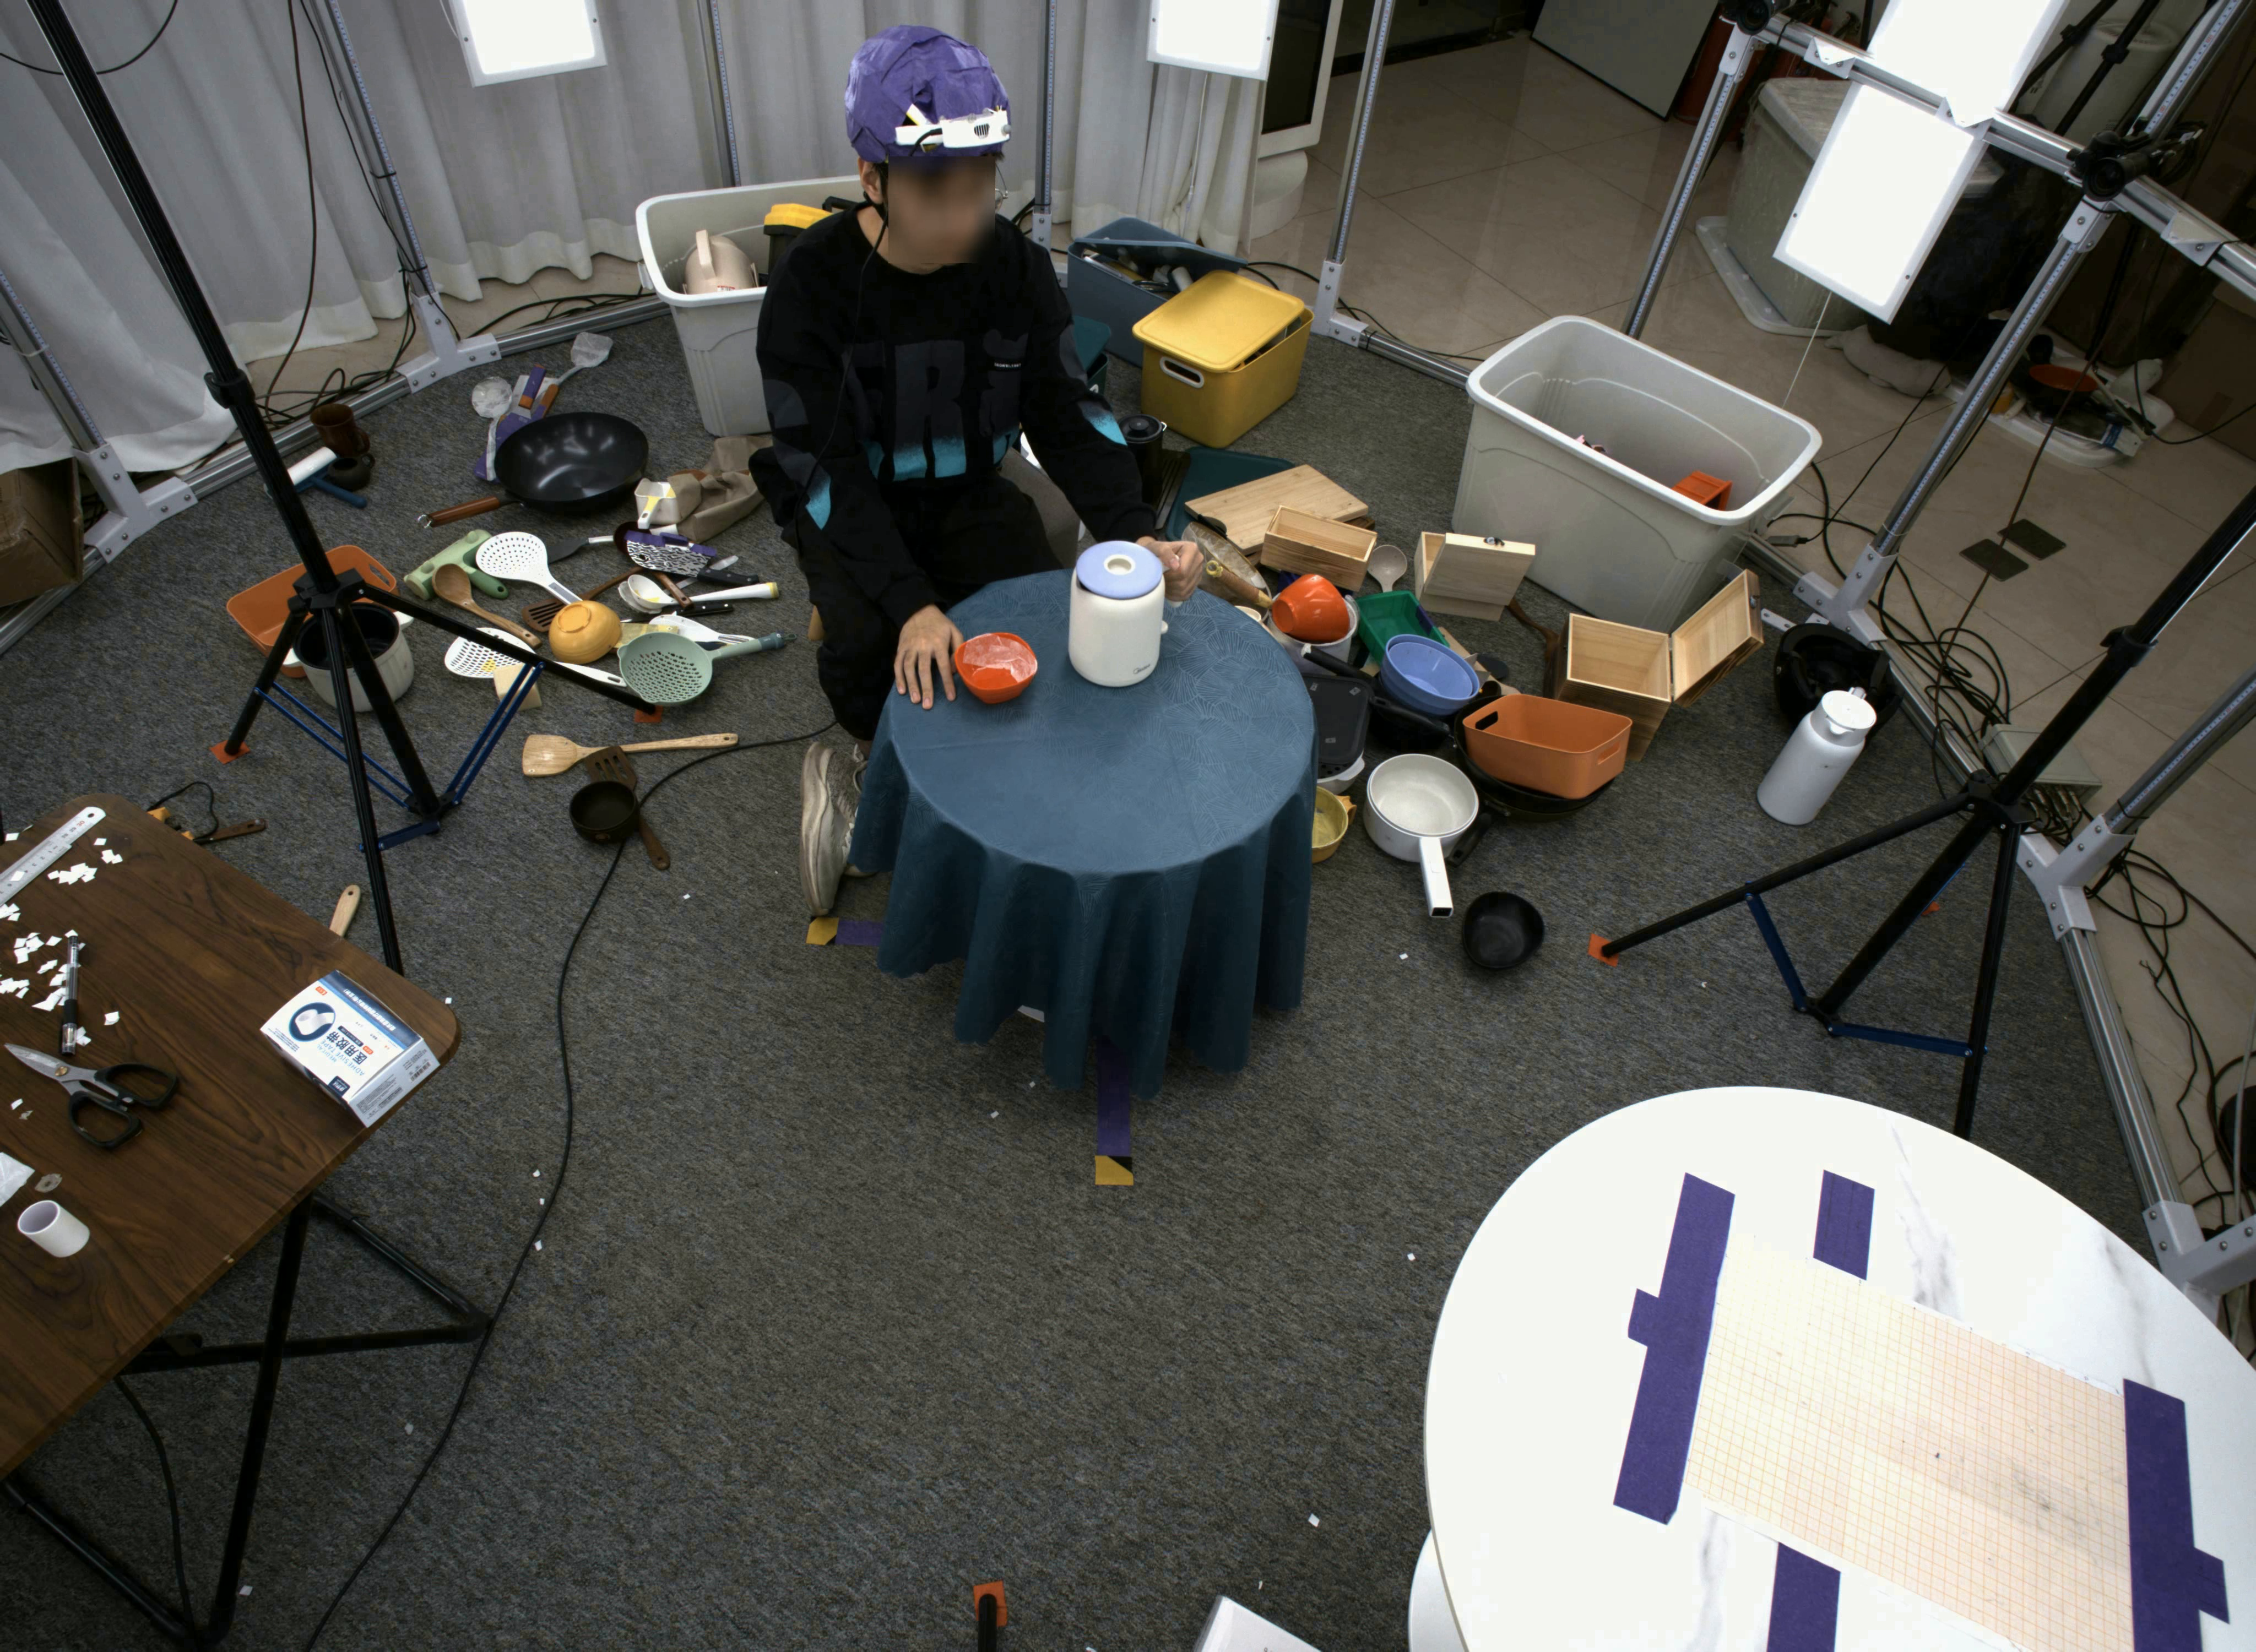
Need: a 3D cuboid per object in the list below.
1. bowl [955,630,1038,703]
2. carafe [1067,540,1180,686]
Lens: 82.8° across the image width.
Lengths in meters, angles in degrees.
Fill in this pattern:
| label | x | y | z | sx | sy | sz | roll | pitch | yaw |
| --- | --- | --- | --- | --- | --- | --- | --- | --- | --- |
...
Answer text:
| label | x | y | z | sx | sy | sz | roll | pitch | yaw |
| --- | --- | --- | --- | --- | --- | --- | --- | --- | --- |
| bowl | -0.184 | -0.218 | 1.810 | 0.119 | 0.050 | 0.122 | 1 | 52 | -2 |
| carafe | 0.001 | -0.311 | 1.828 | 0.192 | 0.178 | 0.134 | -29 | 58 | -28 |
